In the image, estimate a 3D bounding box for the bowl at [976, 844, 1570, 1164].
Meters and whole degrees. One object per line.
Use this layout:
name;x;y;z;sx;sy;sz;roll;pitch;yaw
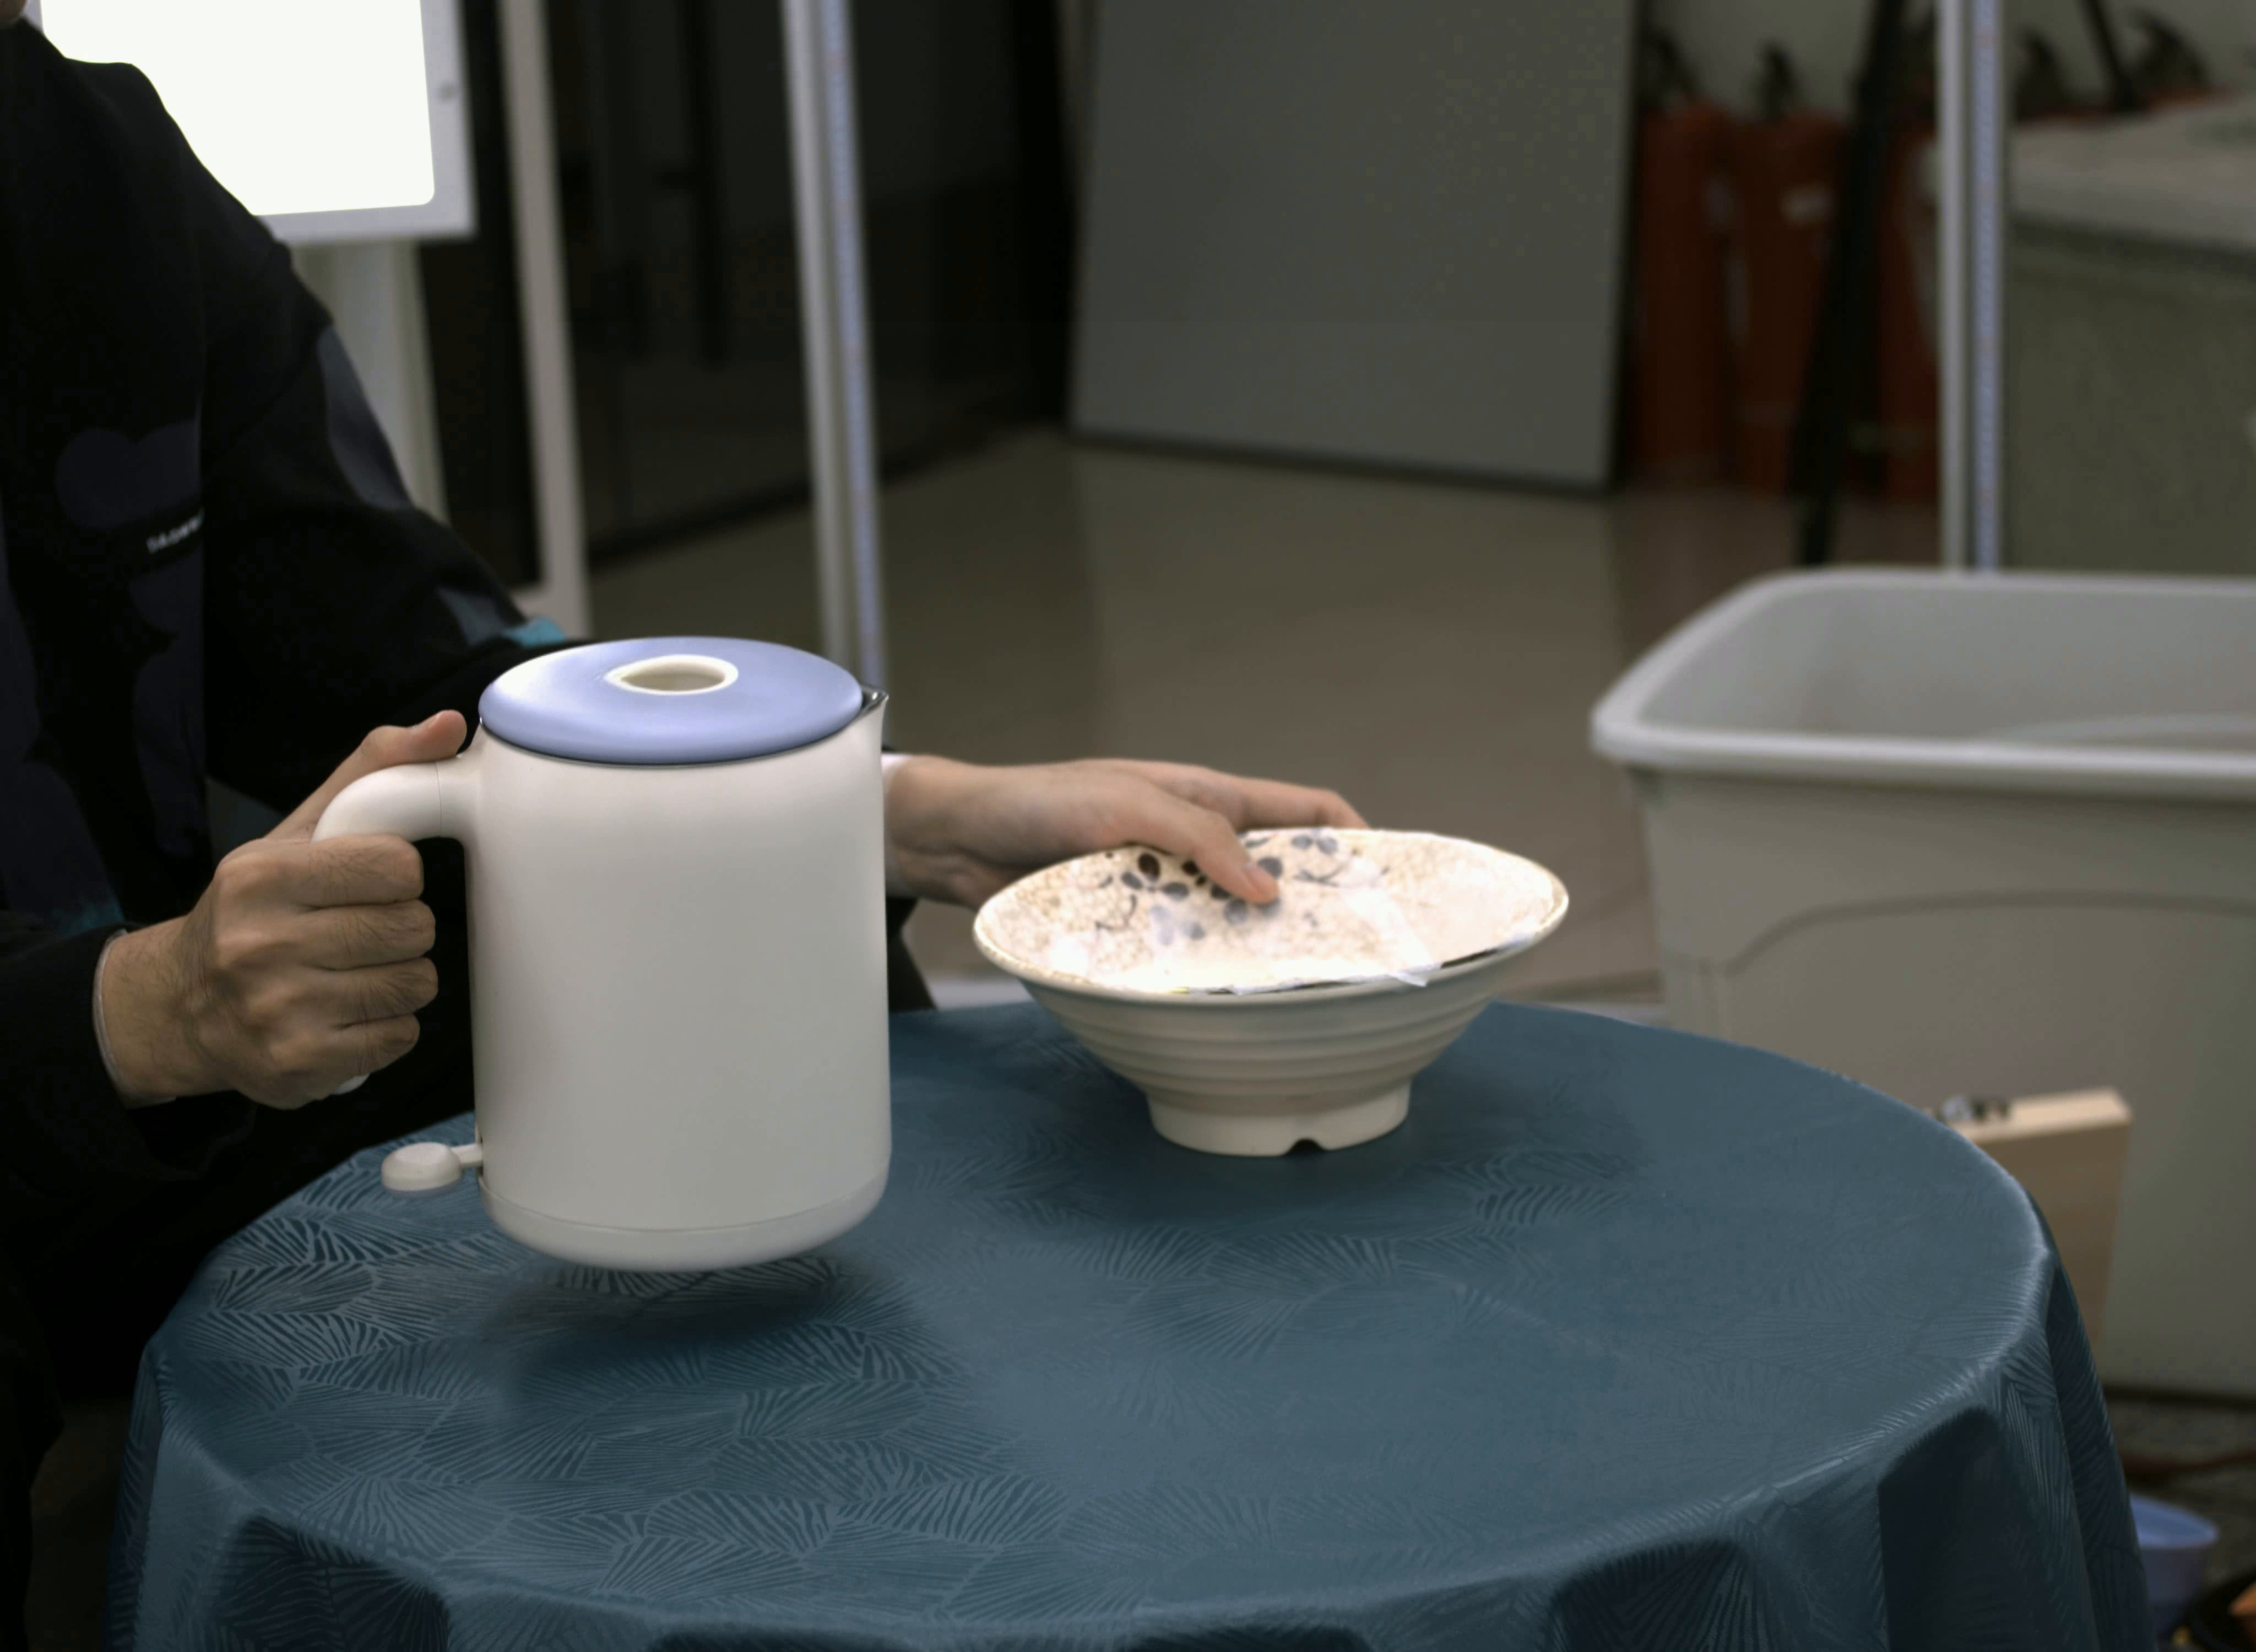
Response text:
bowl;0.052;0.065;1.824;0.201;0.079;0.204;-5;12;0

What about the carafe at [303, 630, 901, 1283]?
carafe;-0.161;0.042;1.670;0.187;0.184;0.133;-8;16;-14
